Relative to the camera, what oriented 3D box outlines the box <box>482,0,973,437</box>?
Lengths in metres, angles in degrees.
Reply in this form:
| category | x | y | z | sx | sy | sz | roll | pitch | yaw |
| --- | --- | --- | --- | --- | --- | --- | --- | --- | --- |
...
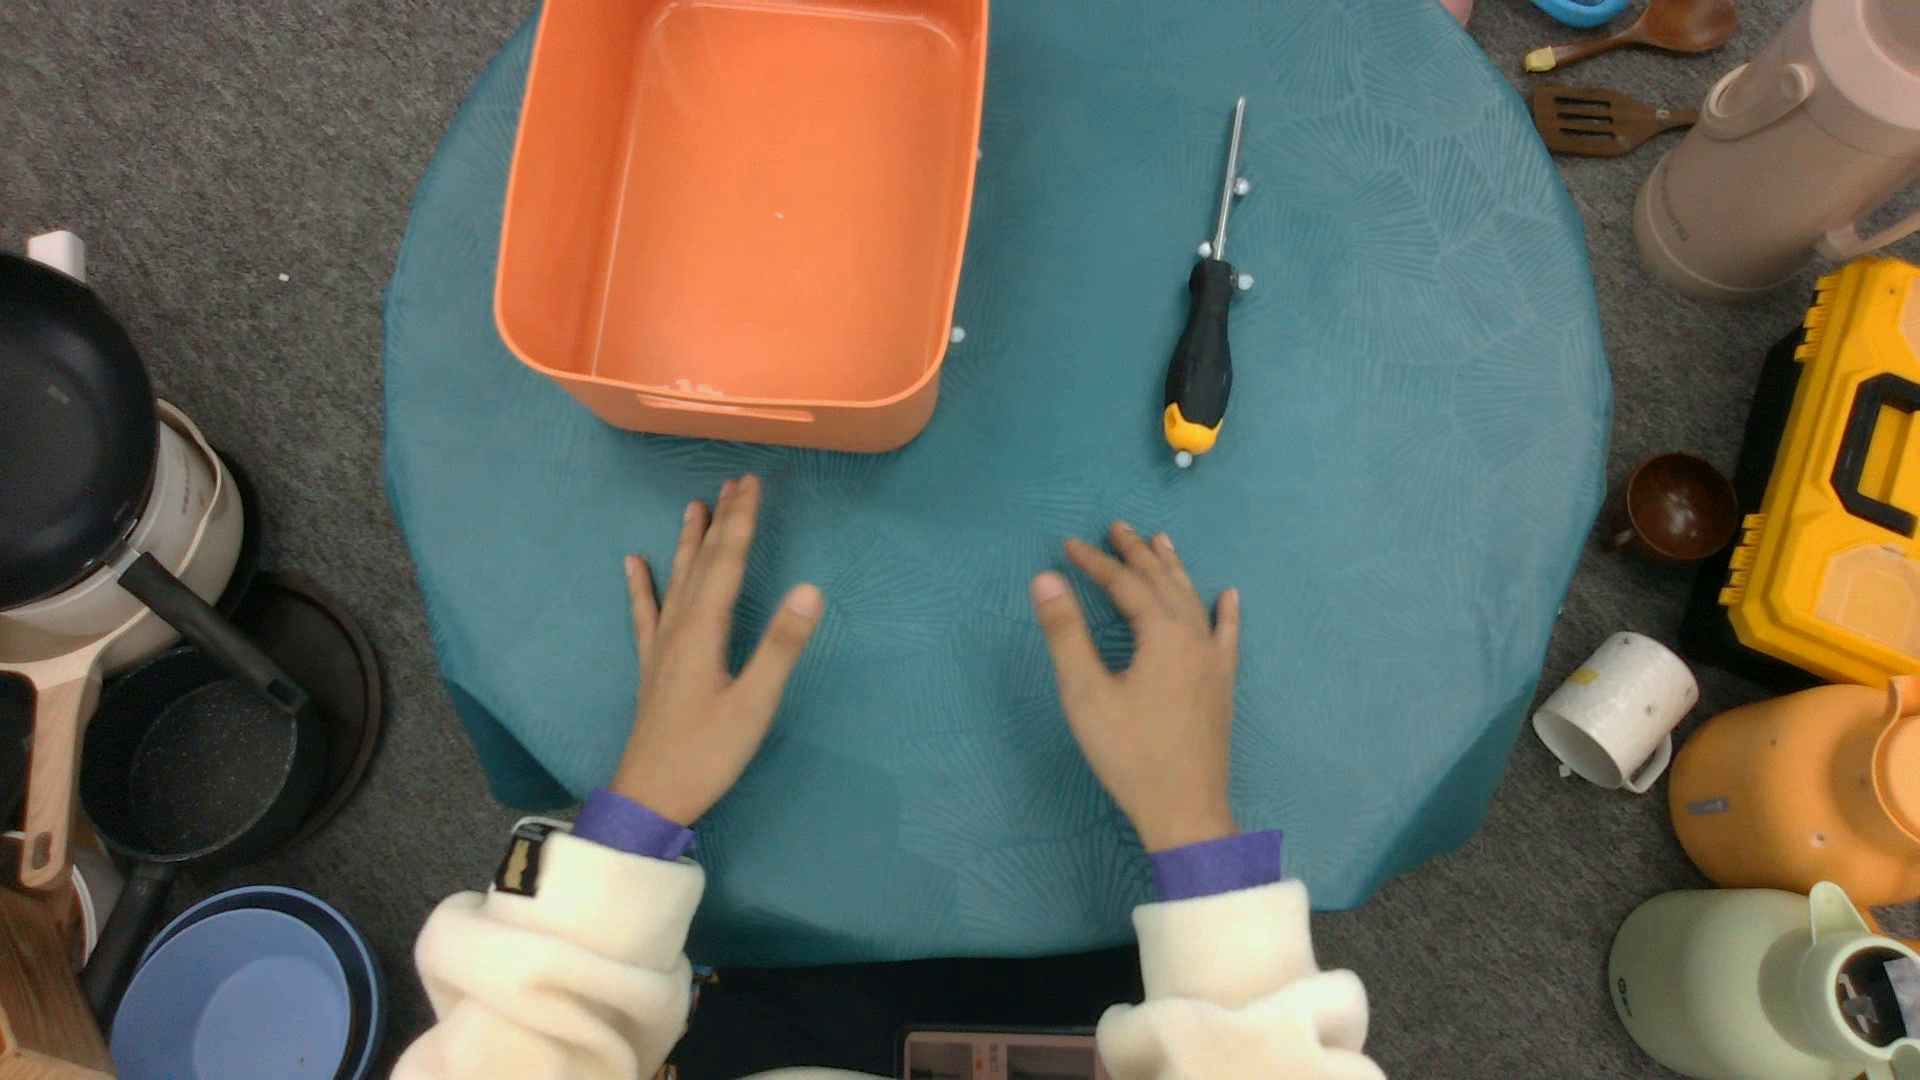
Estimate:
| category | x | y | z | sx | sy | sz | roll | pitch | yaw |
| --- | --- | --- | --- | --- | --- | --- | --- | --- | --- |
| box | -0.097 | -0.182 | 0.645 | 0.199 | 0.102 | 0.274 | 5 | 74 | 0 |

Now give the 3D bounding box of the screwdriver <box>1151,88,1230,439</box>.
| category | x | y | z | sx | sy | sz | roll | pitch | yaw |
| --- | --- | --- | --- | --- | --- | --- | --- | --- | --- |
| screwdriver | 0.122 | -0.140 | 0.682 | 0.031 | 0.031 | 0.197 | 13 | 70 | 3 |
